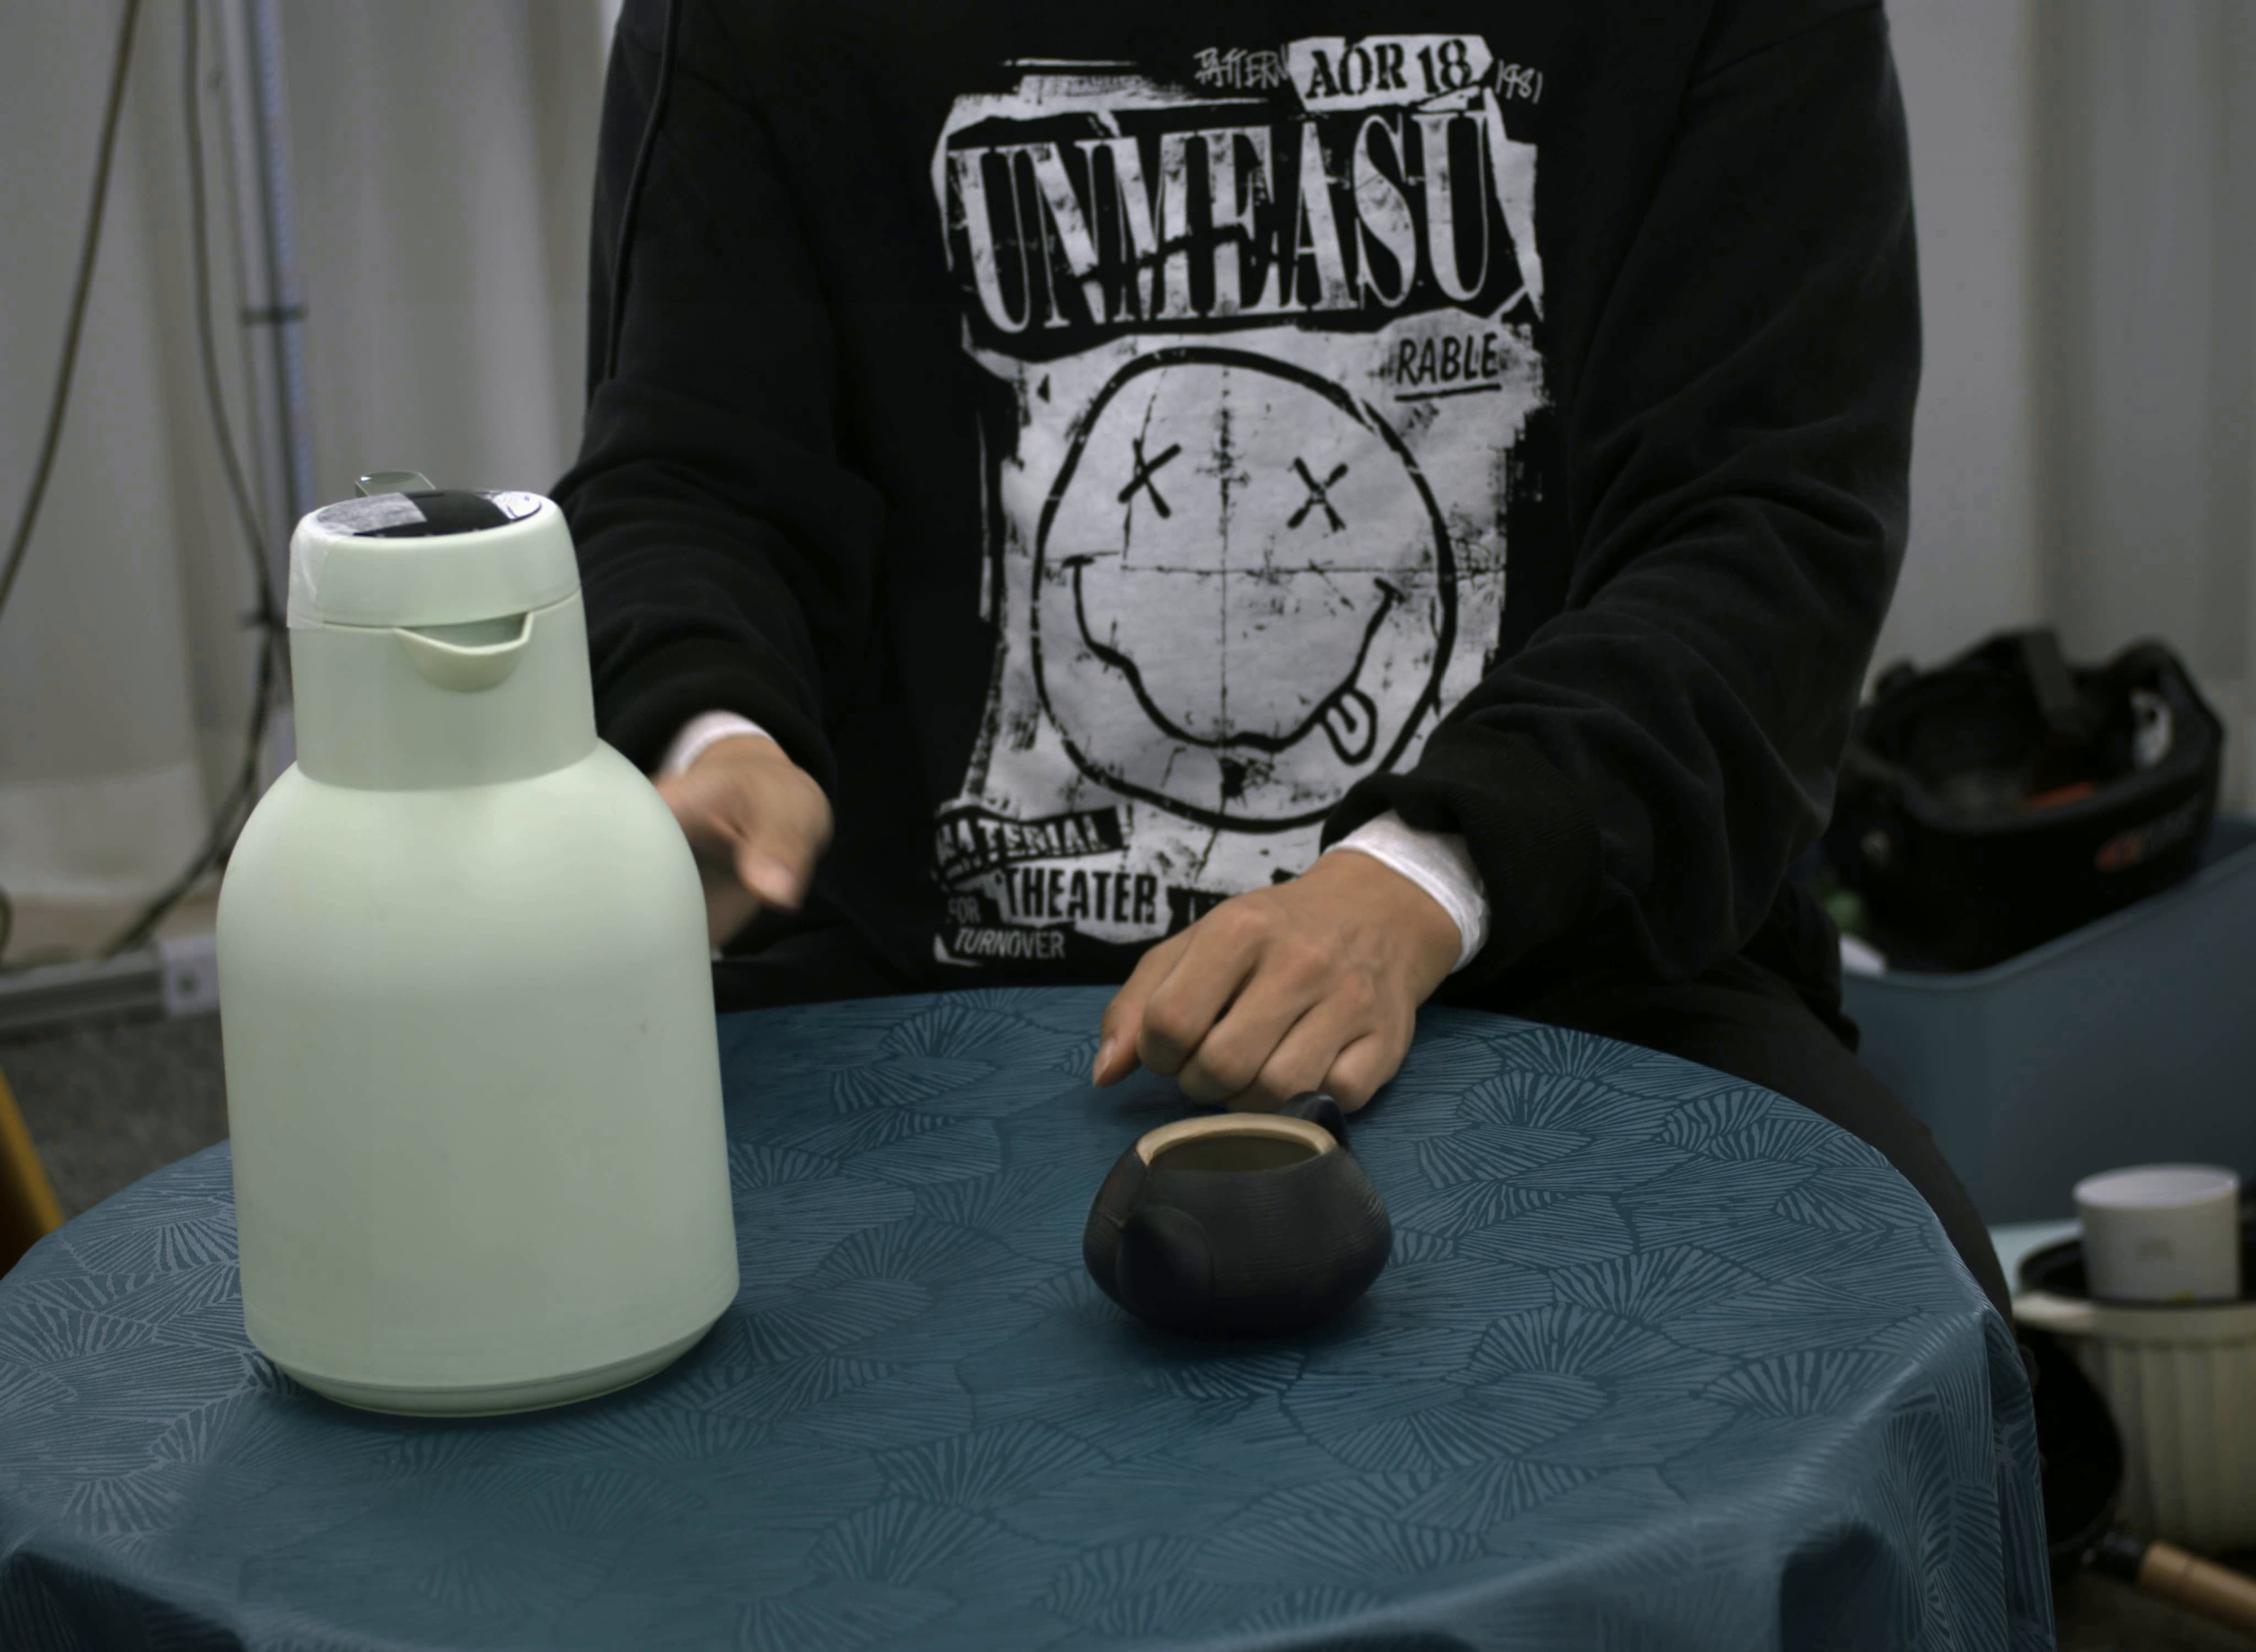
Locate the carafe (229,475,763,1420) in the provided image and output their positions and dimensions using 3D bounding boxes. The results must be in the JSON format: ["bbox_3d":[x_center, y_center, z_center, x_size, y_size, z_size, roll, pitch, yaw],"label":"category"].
[{"bbox_3d":[-0.193,0.029,1.592,0.143,0.256,0.188,-10,12,-17],"label":"carafe"}]

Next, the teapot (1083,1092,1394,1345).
[{"bbox_3d":[0.032,0.118,1.595,0.091,0.053,0.133,7,18,28],"label":"teapot"}]
